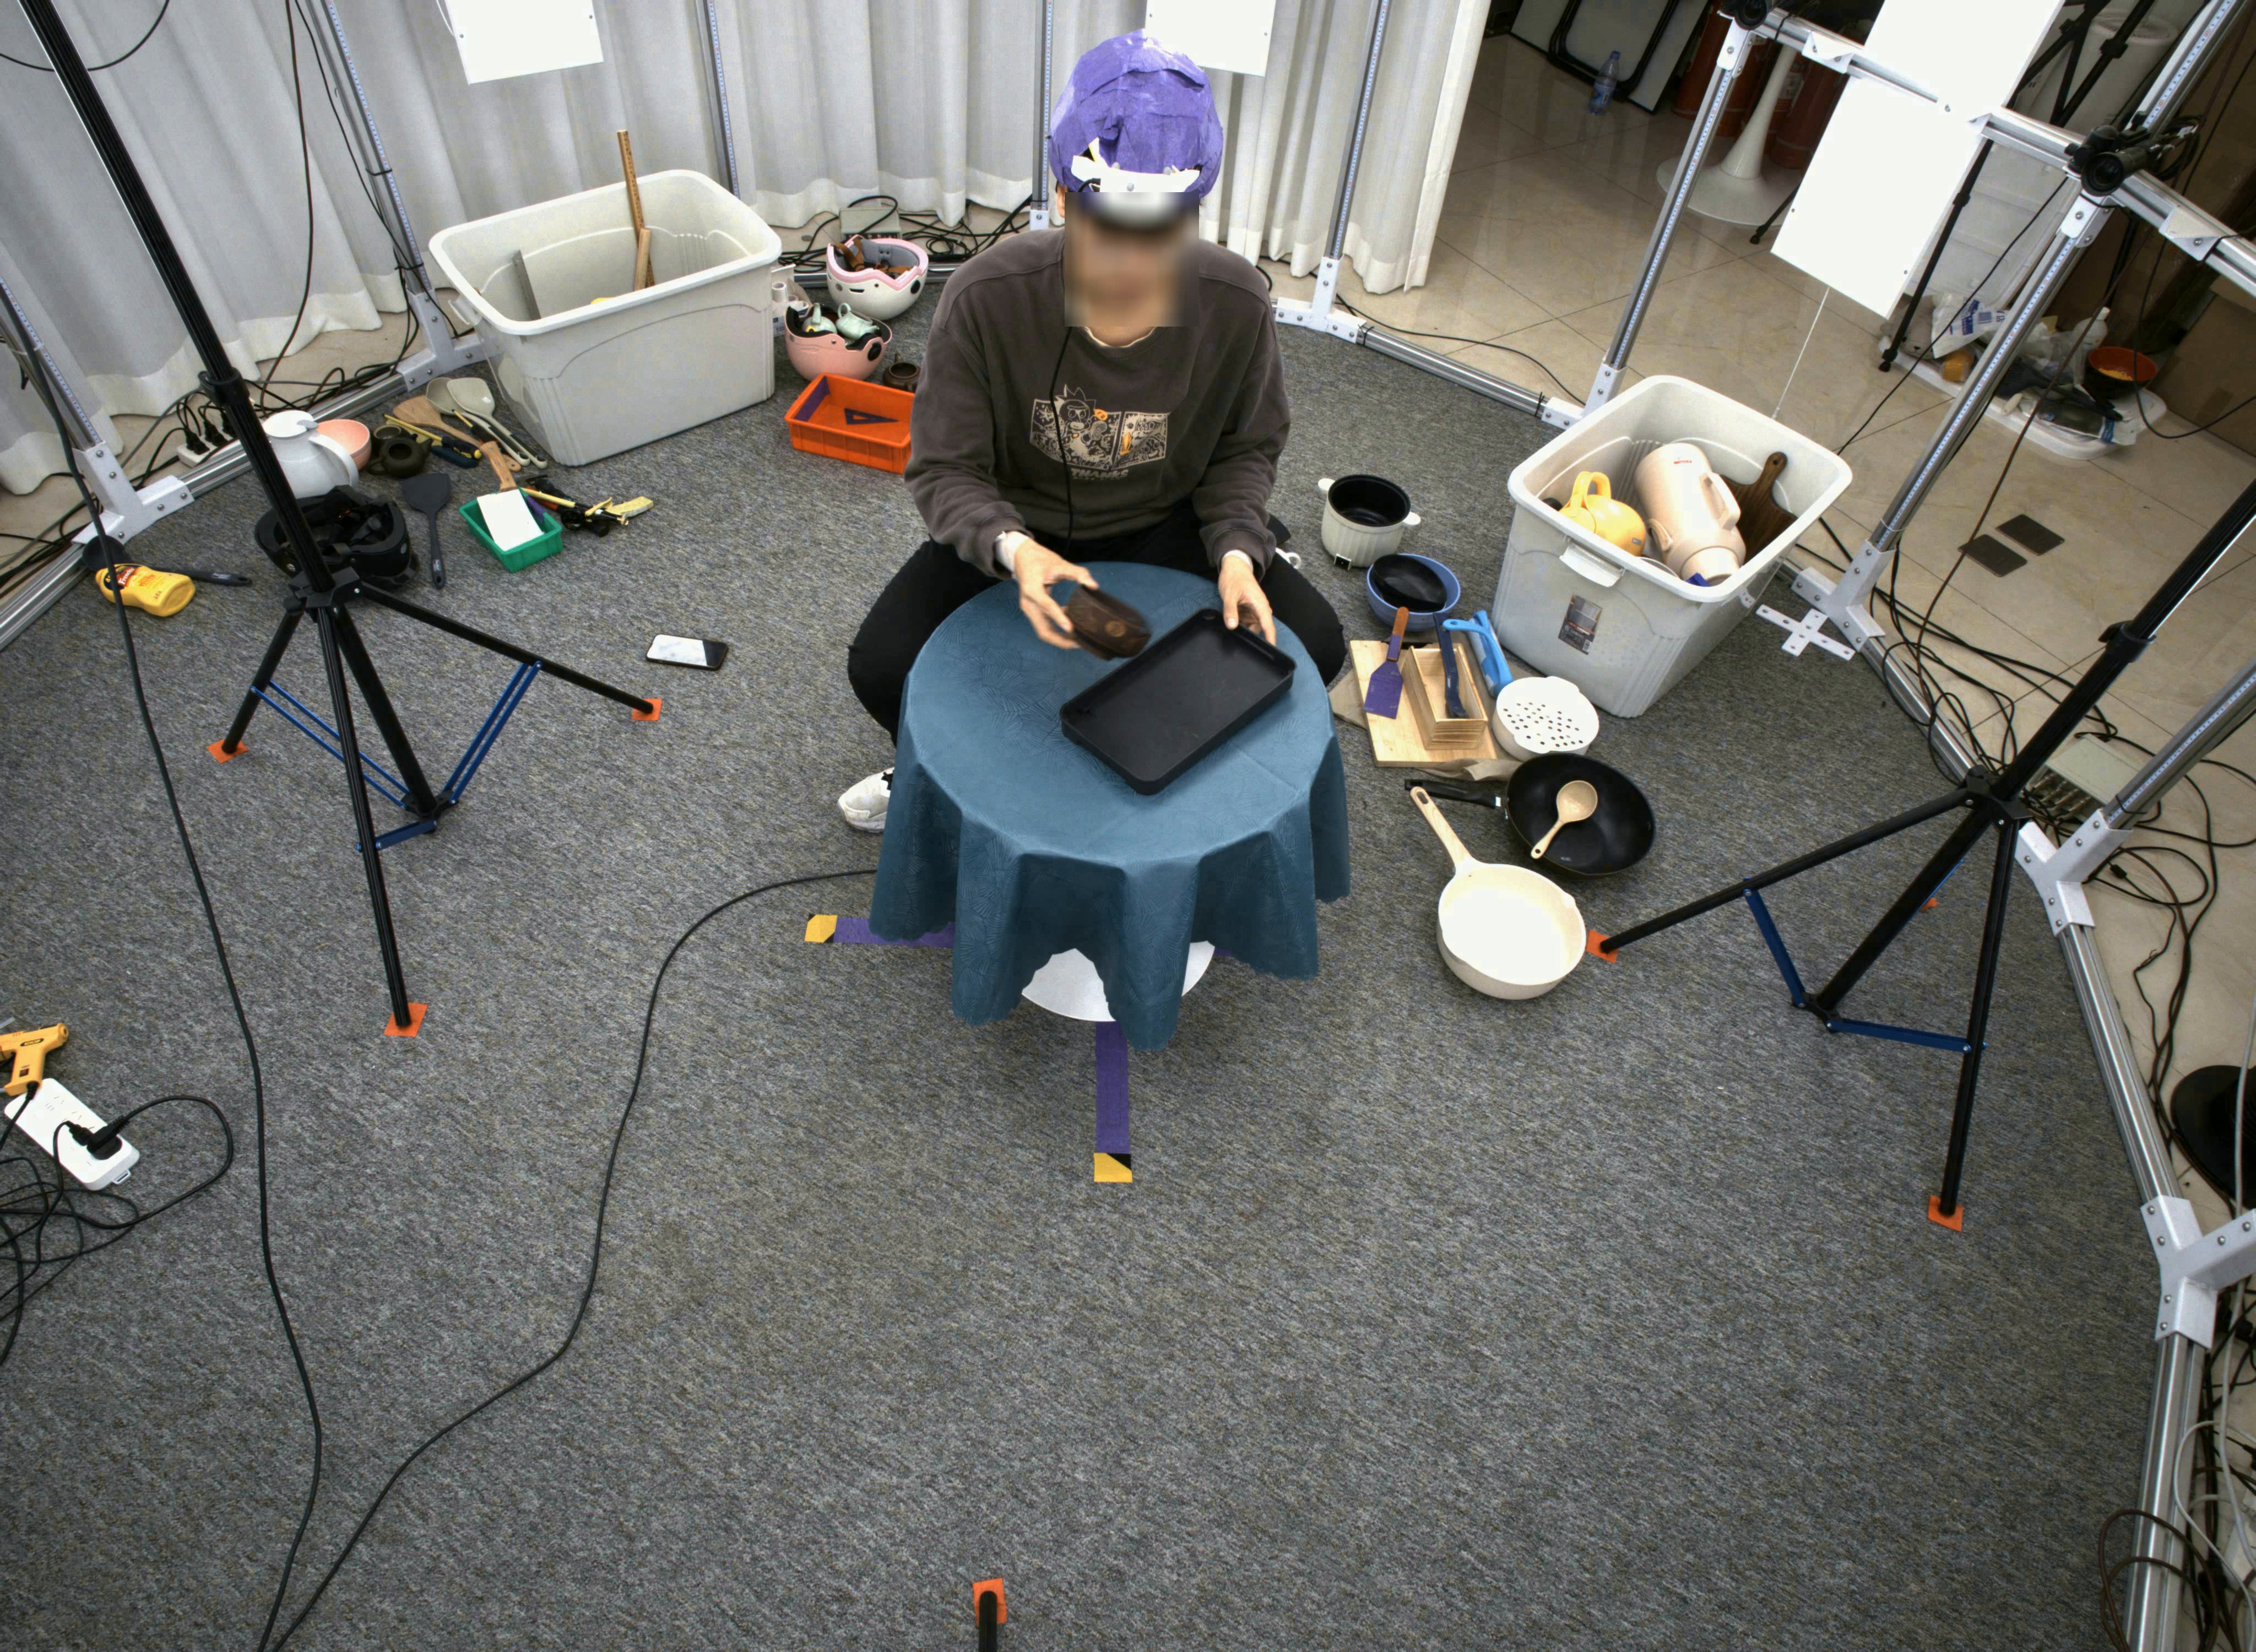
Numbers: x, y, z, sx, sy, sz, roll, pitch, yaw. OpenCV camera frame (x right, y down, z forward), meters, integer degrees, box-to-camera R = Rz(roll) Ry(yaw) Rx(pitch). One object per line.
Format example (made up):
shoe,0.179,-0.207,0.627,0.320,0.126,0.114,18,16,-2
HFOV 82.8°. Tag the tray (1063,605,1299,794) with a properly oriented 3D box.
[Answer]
tray,0.077,-0.183,1.798,0.187,0.036,0.321,36,59,26

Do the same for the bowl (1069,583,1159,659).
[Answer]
bowl,-0.025,-0.263,1.691,0.117,0.069,0.119,25,16,-8
